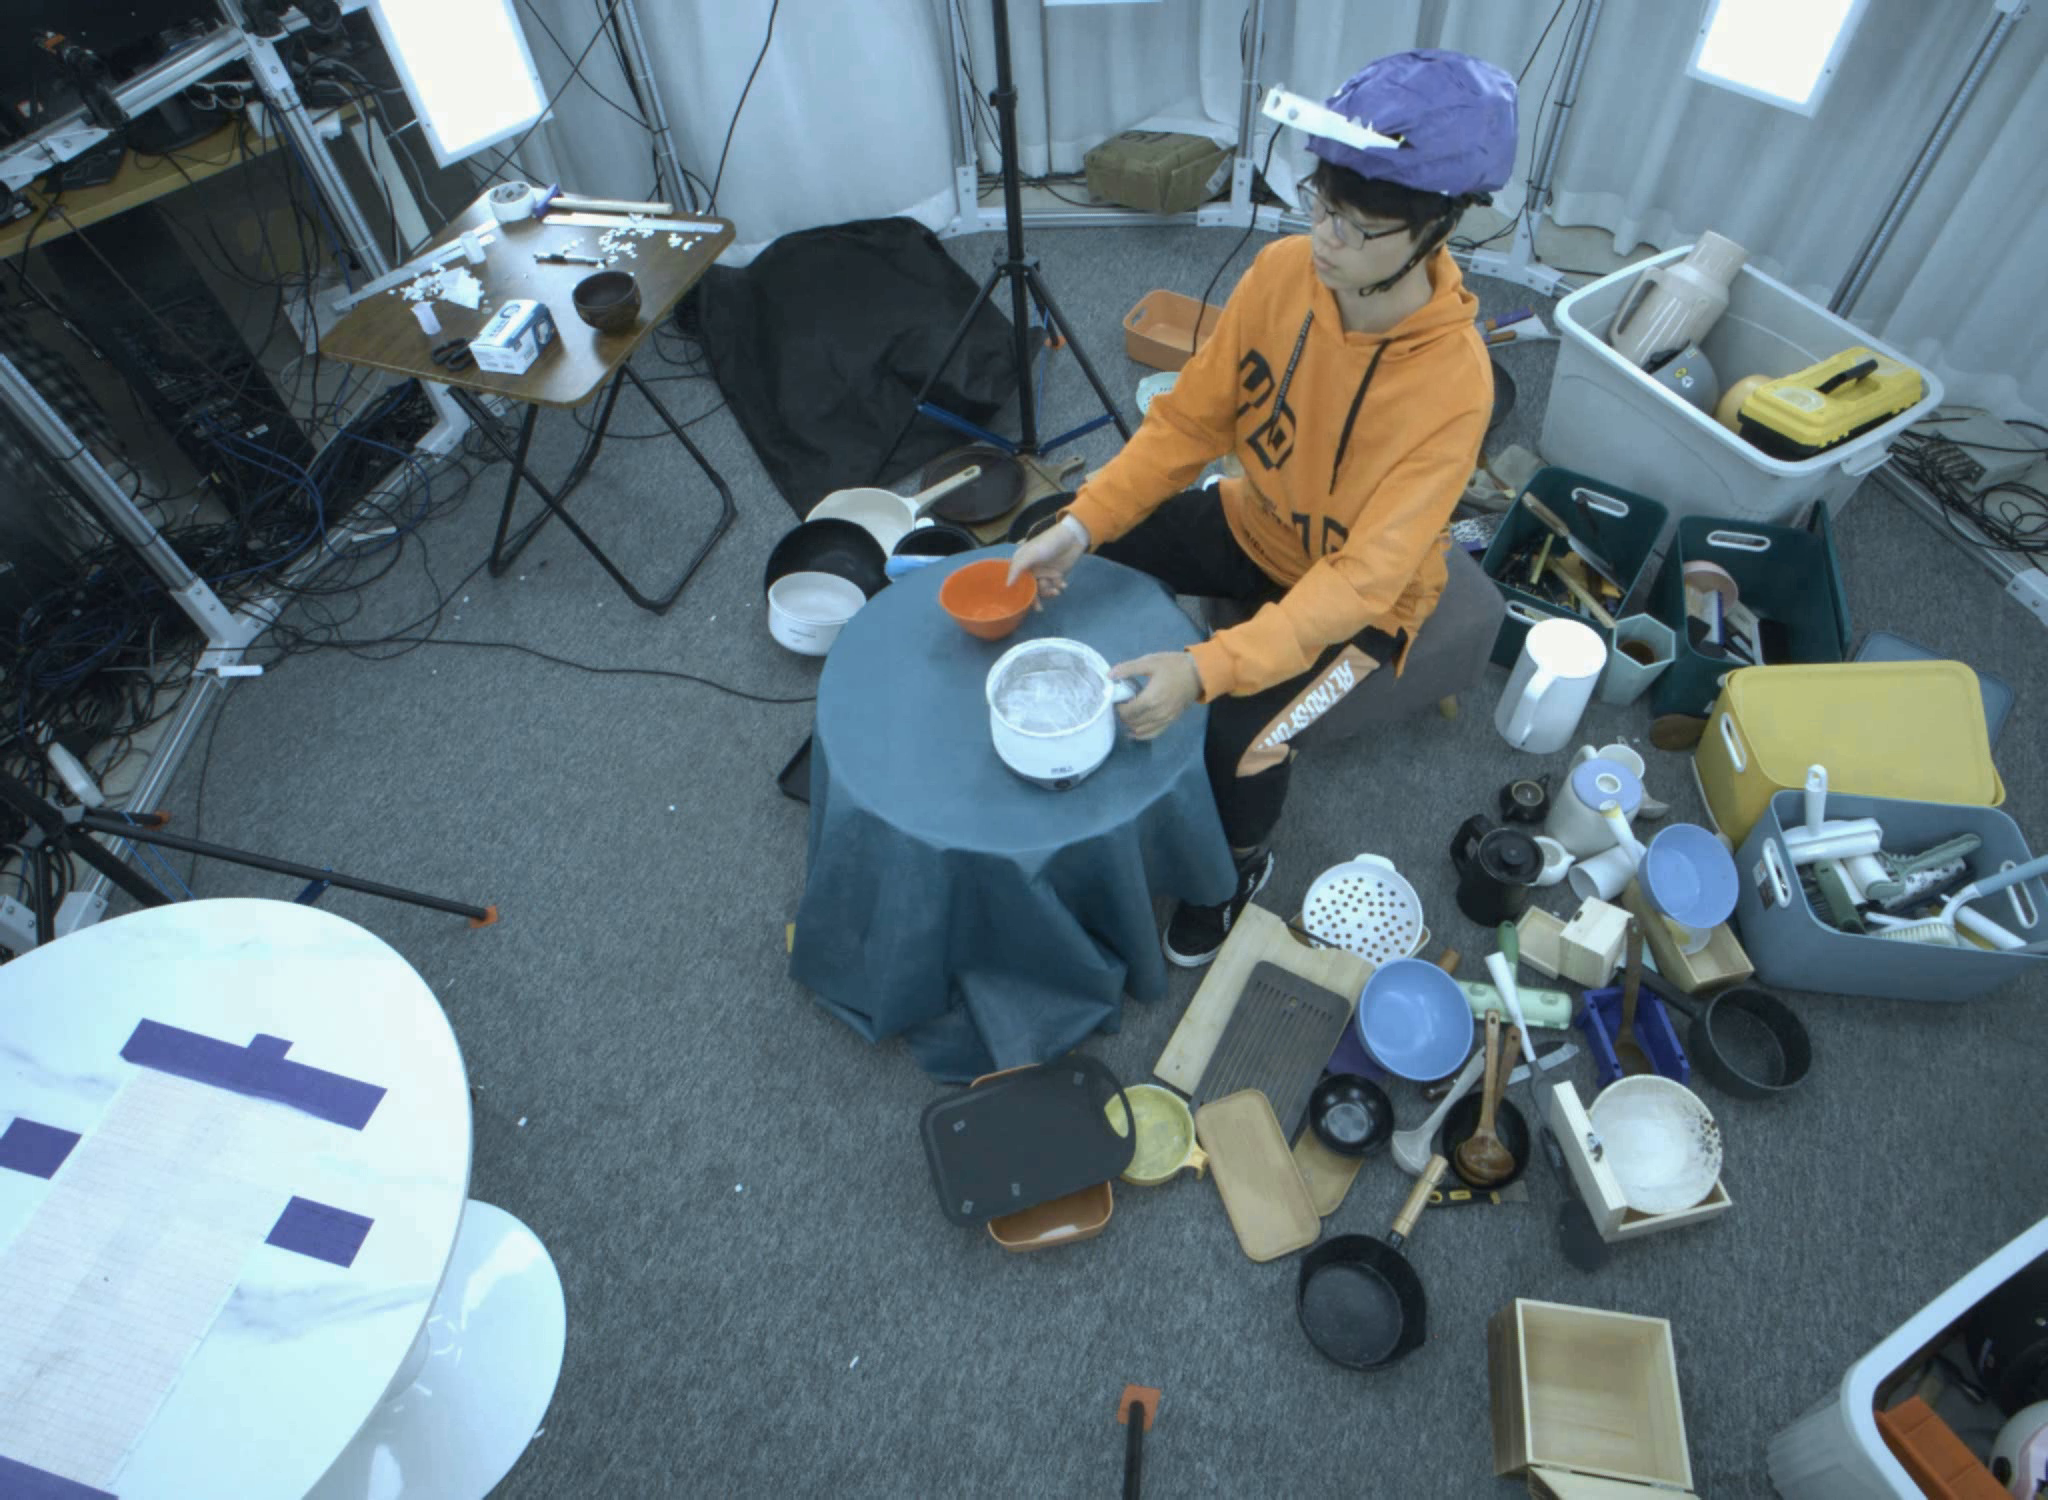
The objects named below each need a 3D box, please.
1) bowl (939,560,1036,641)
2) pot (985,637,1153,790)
[{"bbox_3d":[-0.053,-0.217,1.883,0.148,0.106,0.146,-1,55,3],"label":"bowl"},{"bbox_3d":[0.066,-0.055,1.739,0.234,0.138,0.176,-10,55,-4],"label":"pot"}]
